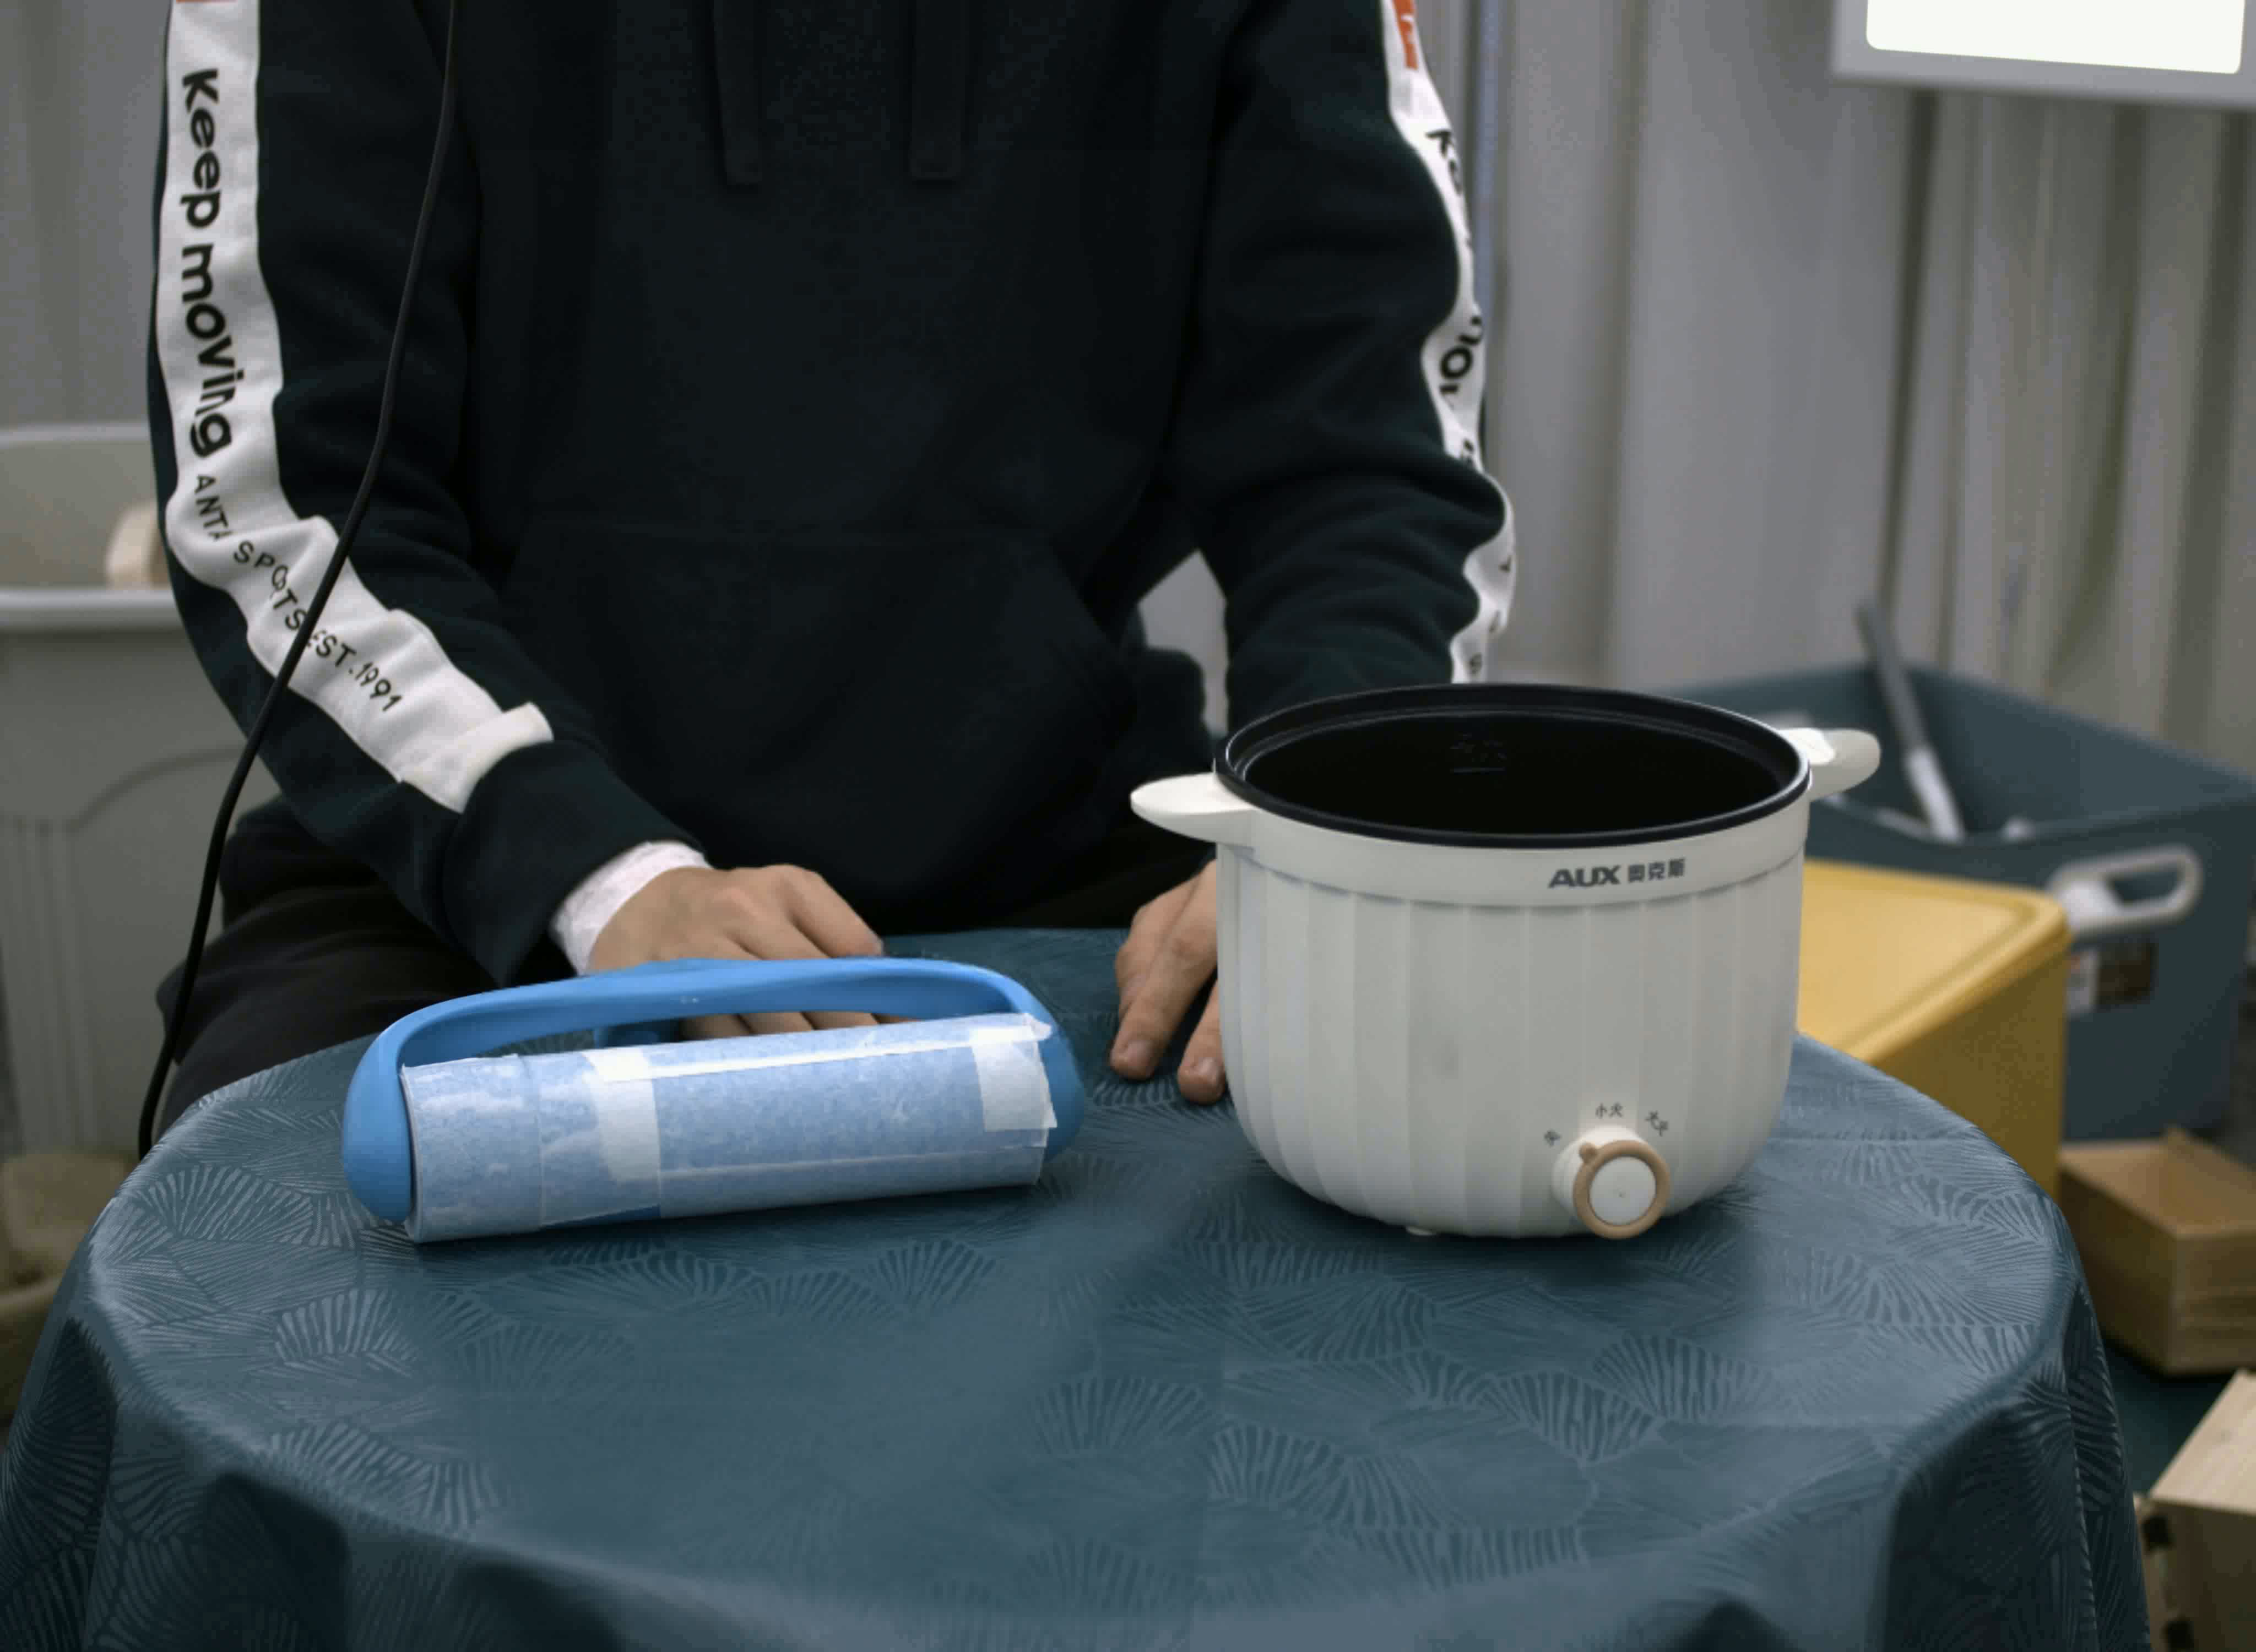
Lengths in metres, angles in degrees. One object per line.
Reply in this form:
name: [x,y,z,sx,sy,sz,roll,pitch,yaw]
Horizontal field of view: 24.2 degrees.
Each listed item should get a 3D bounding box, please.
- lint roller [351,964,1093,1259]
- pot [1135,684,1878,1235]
lint roller: [-0.141,0.076,1.642,0.229,0.068,0.178,-7,18,-19]
pot: [0.120,0.043,1.611,0.241,0.144,0.188,-6,14,-17]
